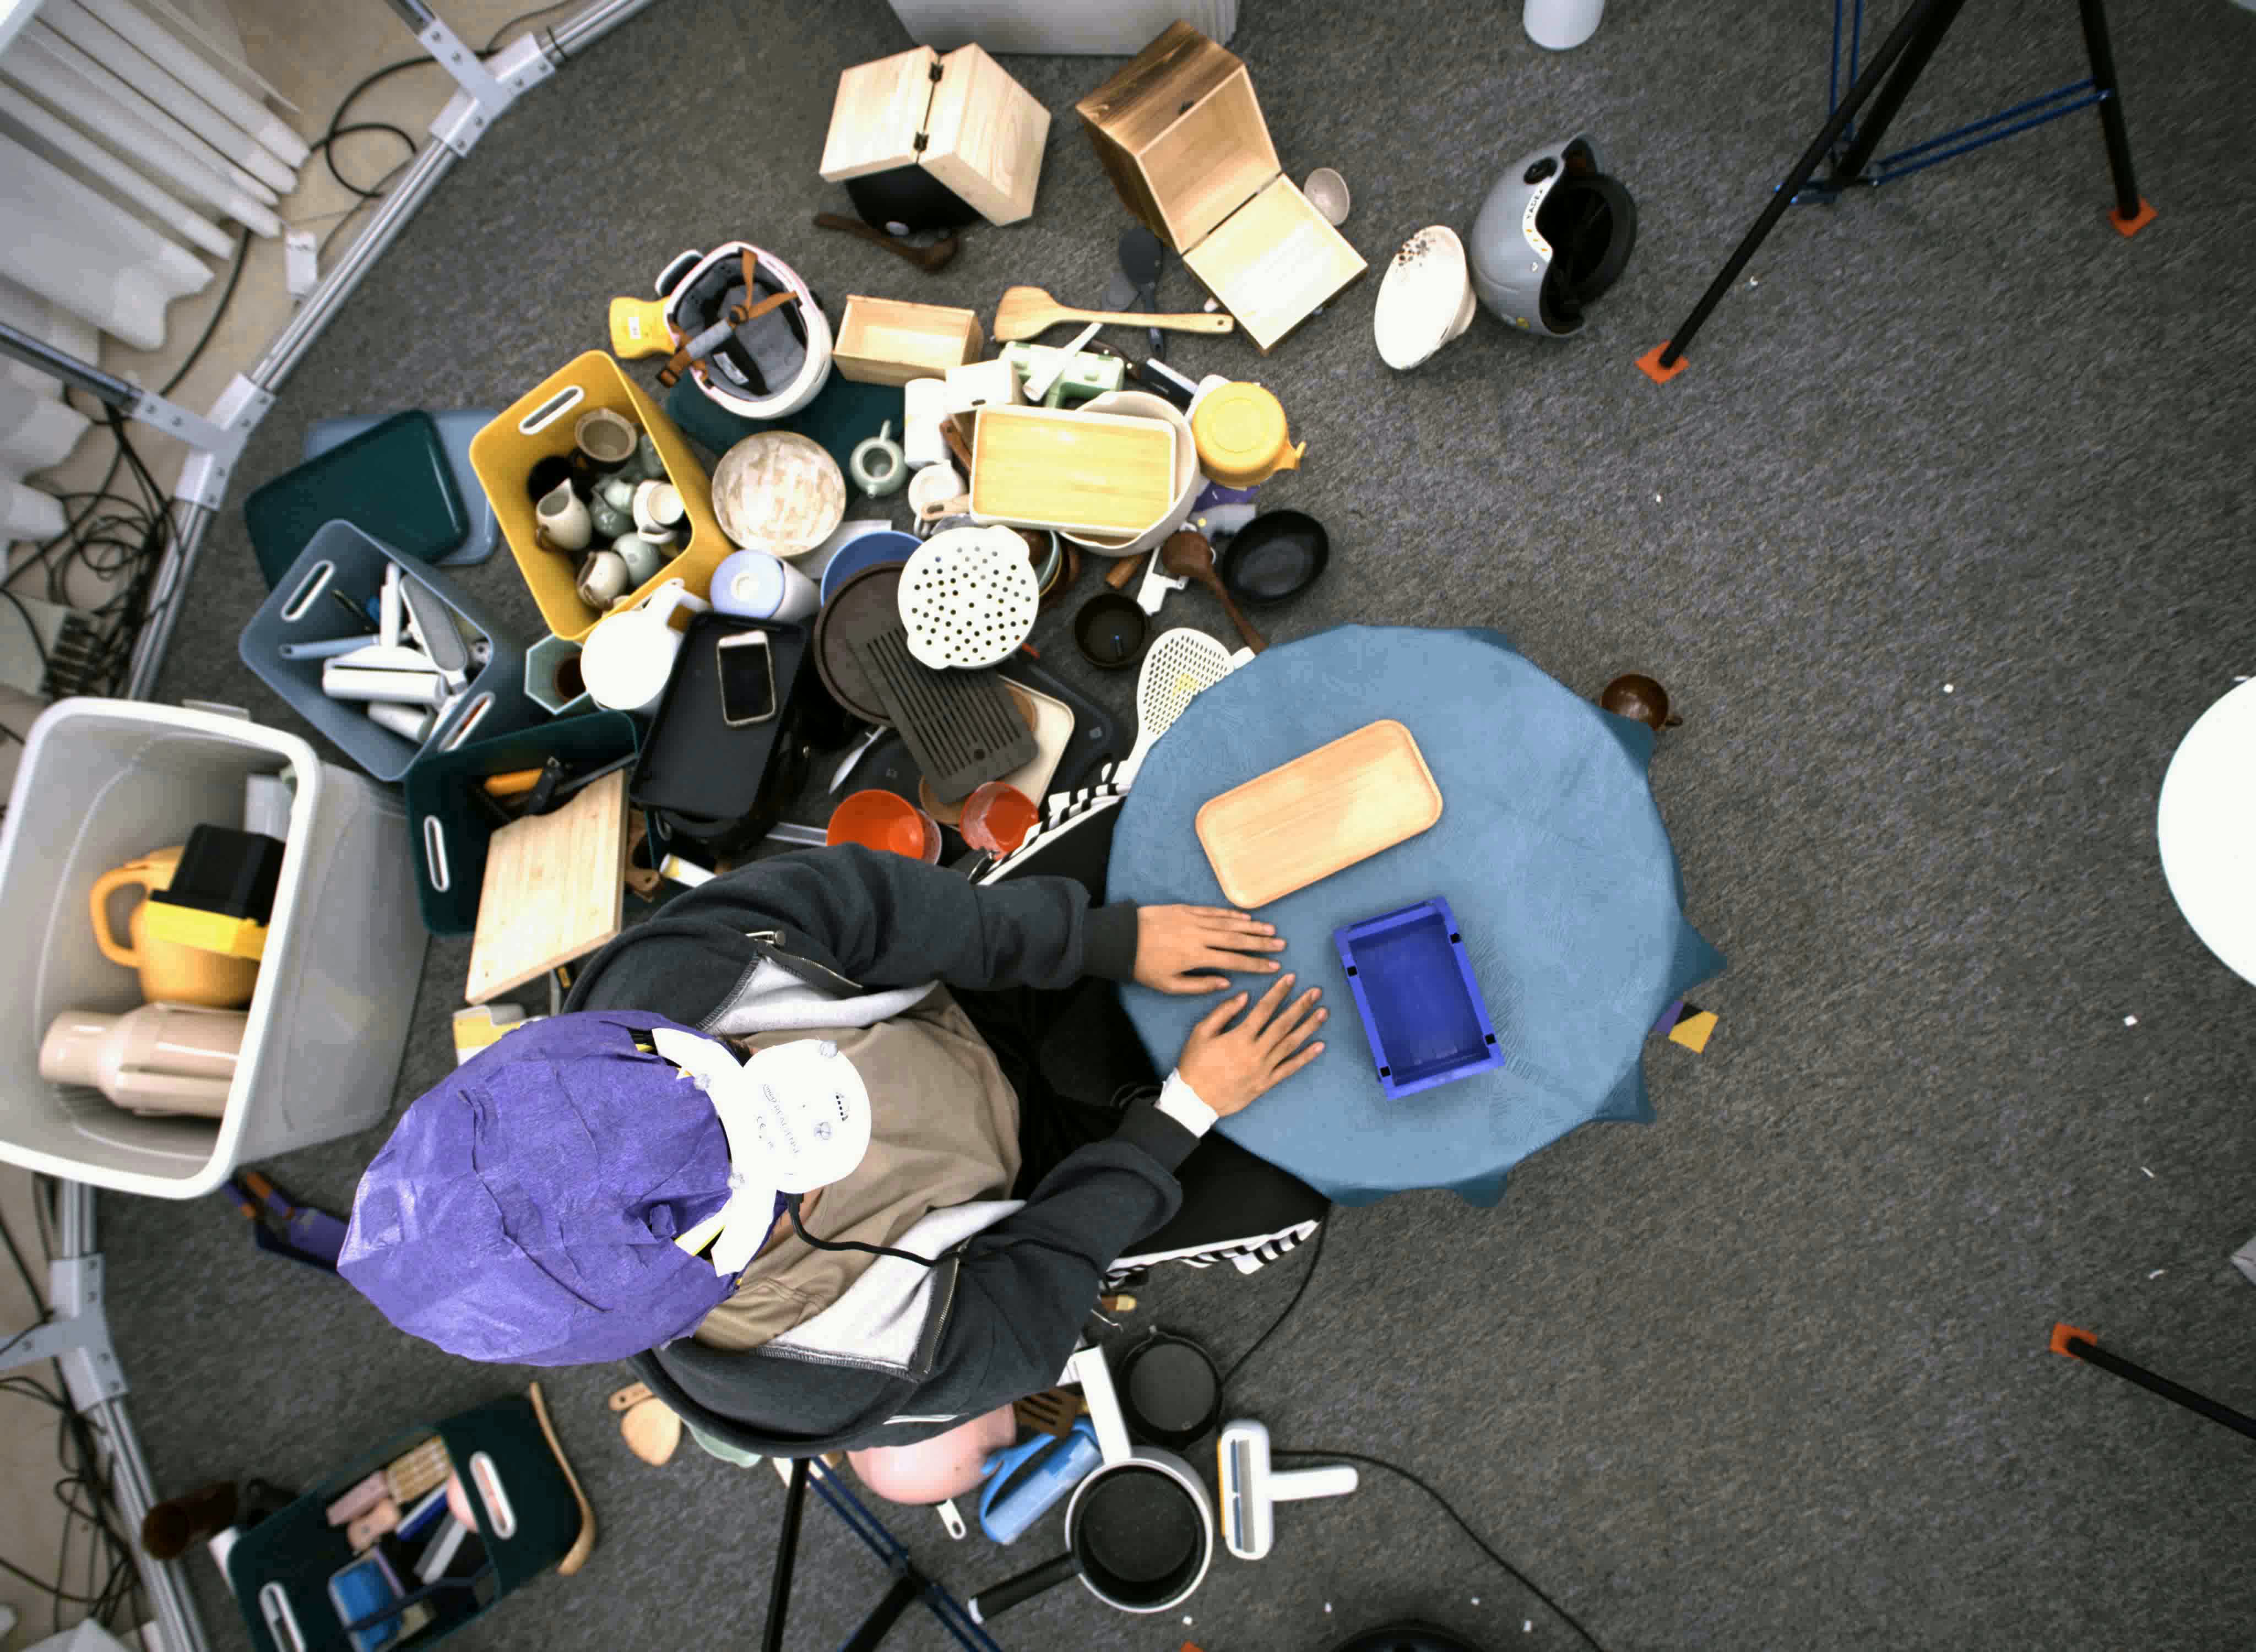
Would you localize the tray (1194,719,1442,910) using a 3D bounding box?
[{"bbox_3d":[0.201,-0.012,1.468,0.252,0.023,0.129,-25,80,9],"label":"tray"}]

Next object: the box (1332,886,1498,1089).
[{"bbox_3d":[0.288,0.161,1.410,0.125,0.082,0.179,-16,87,9],"label":"box"}]
